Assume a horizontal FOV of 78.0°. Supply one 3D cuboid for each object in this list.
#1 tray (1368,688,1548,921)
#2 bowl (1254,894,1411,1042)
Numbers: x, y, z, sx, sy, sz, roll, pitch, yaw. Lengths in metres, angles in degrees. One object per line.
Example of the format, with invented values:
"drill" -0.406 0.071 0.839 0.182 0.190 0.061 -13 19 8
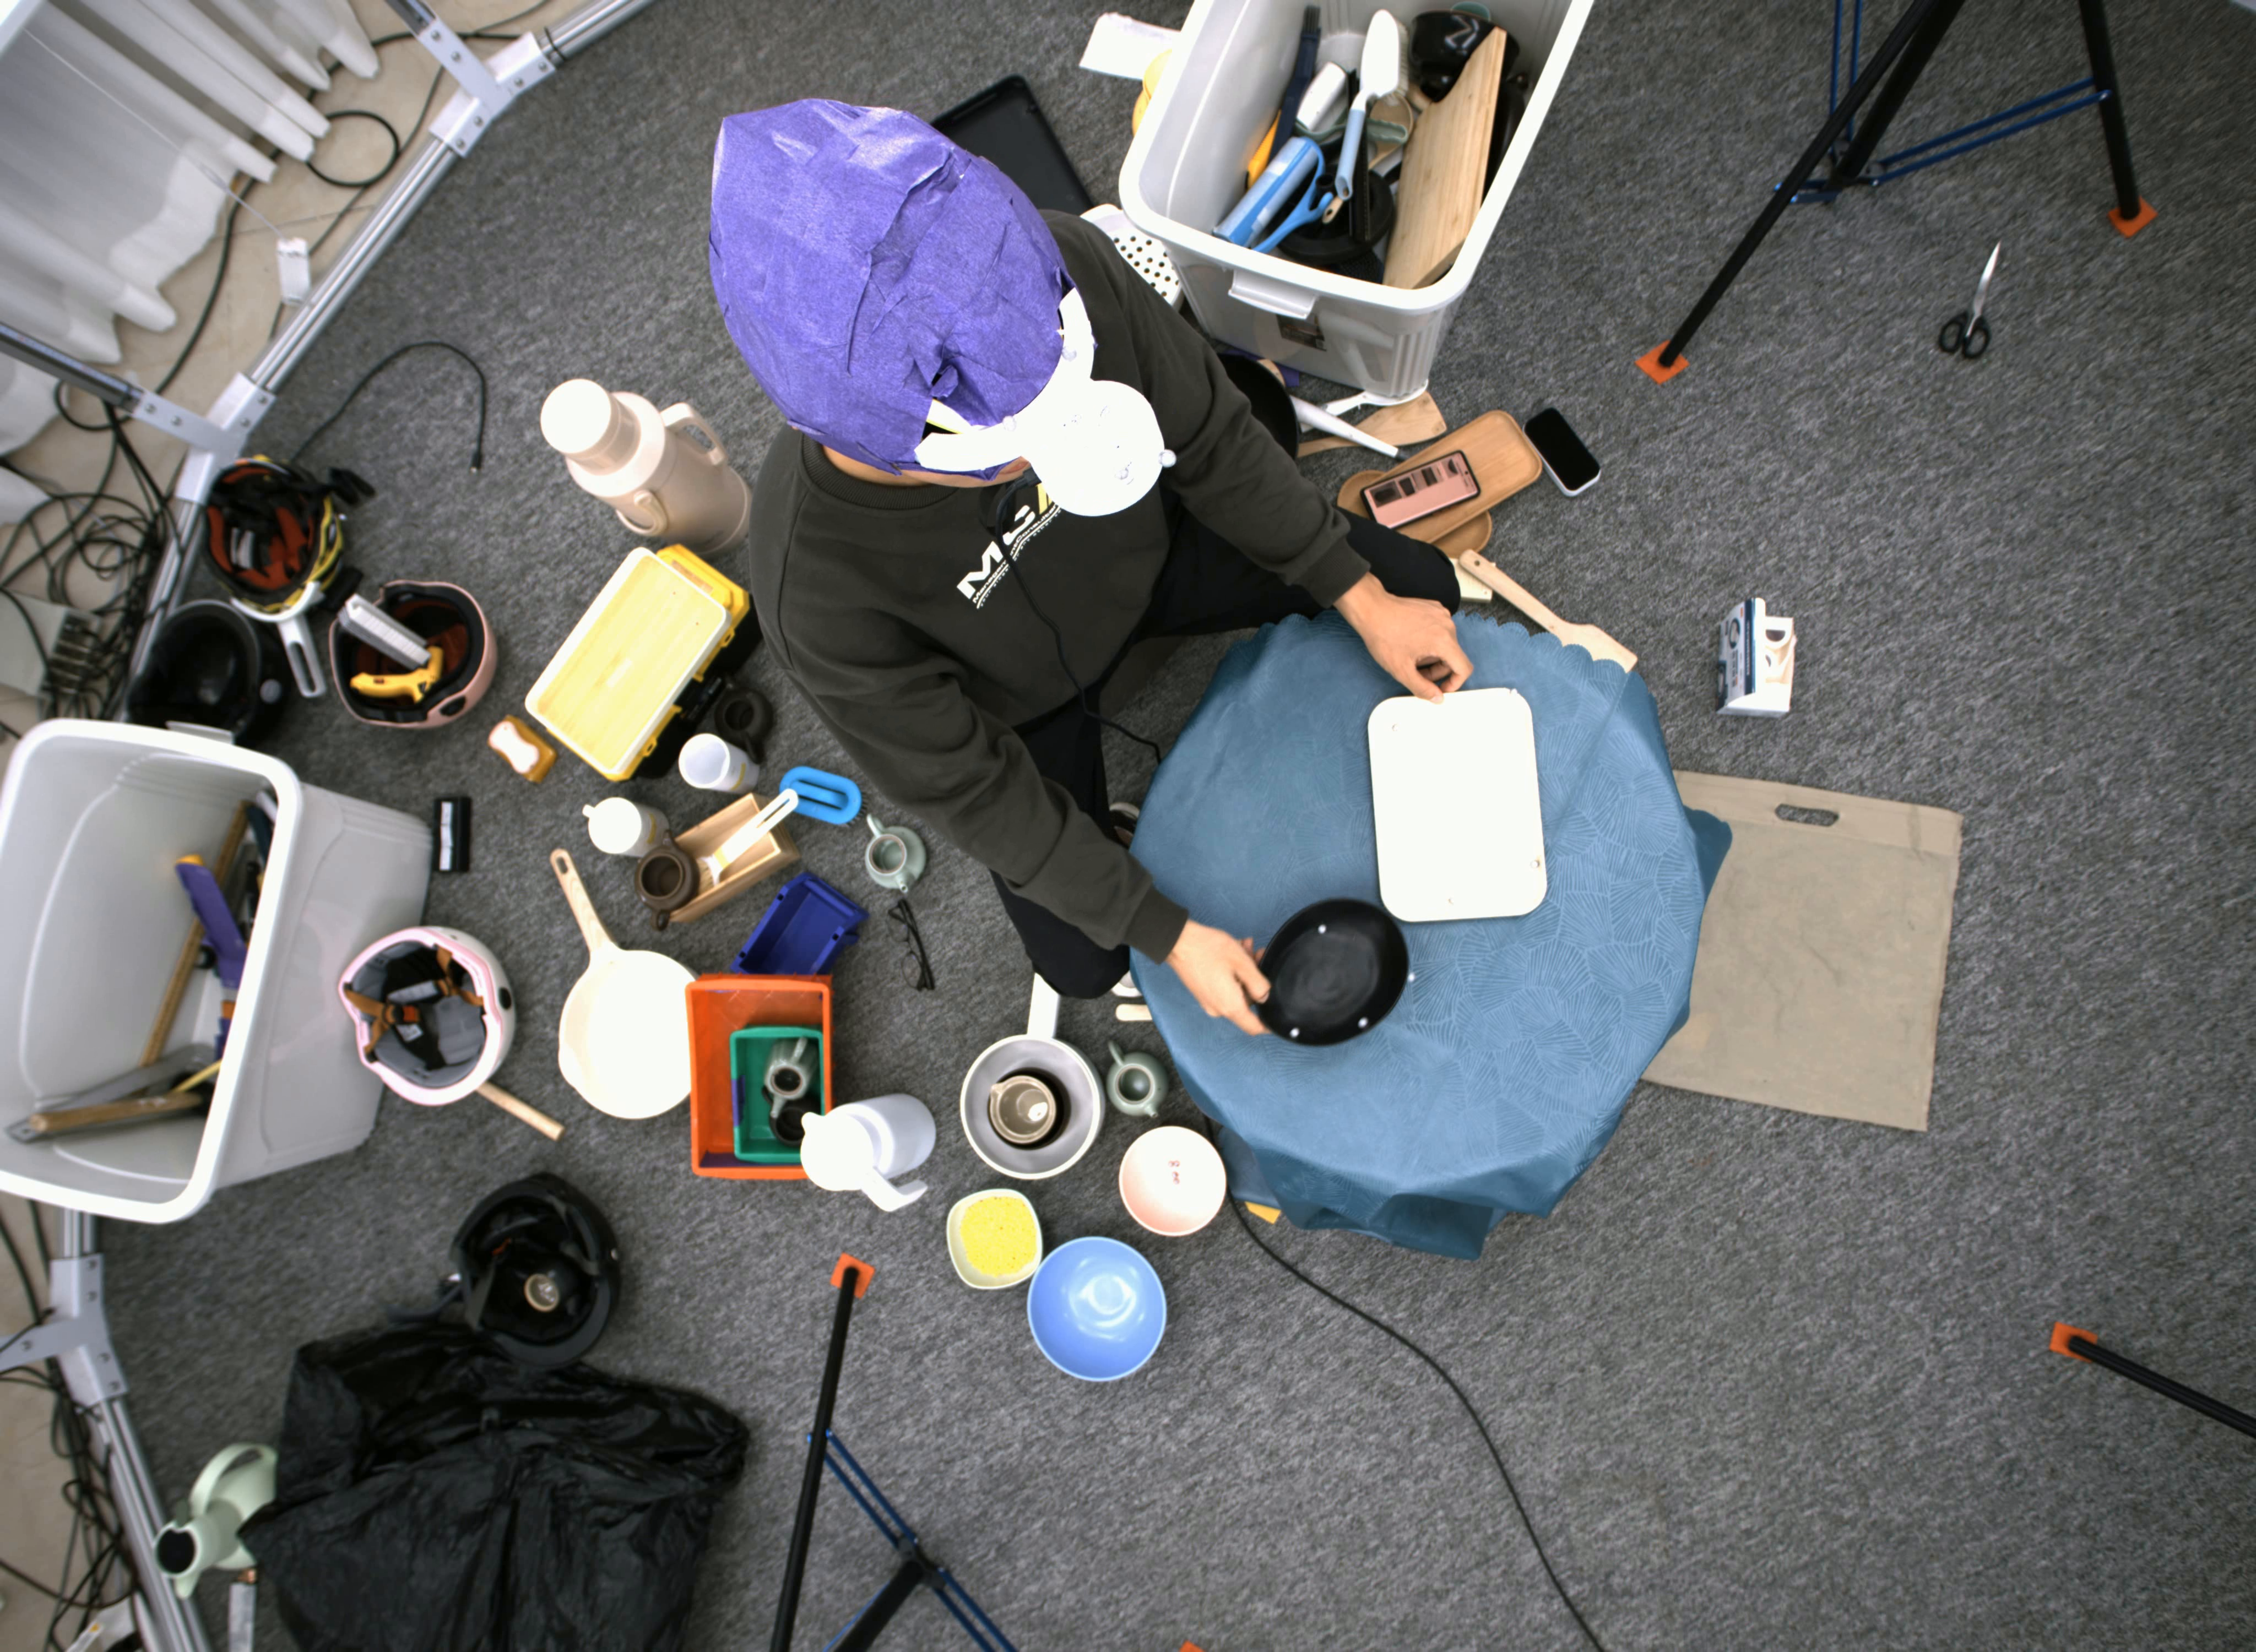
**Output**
"tray" 0.345 -0.024 1.442 0.172 0.017 0.238 -4 86 11
"bowl" 0.208 0.149 1.418 0.170 0.067 0.136 -42 79 -1
